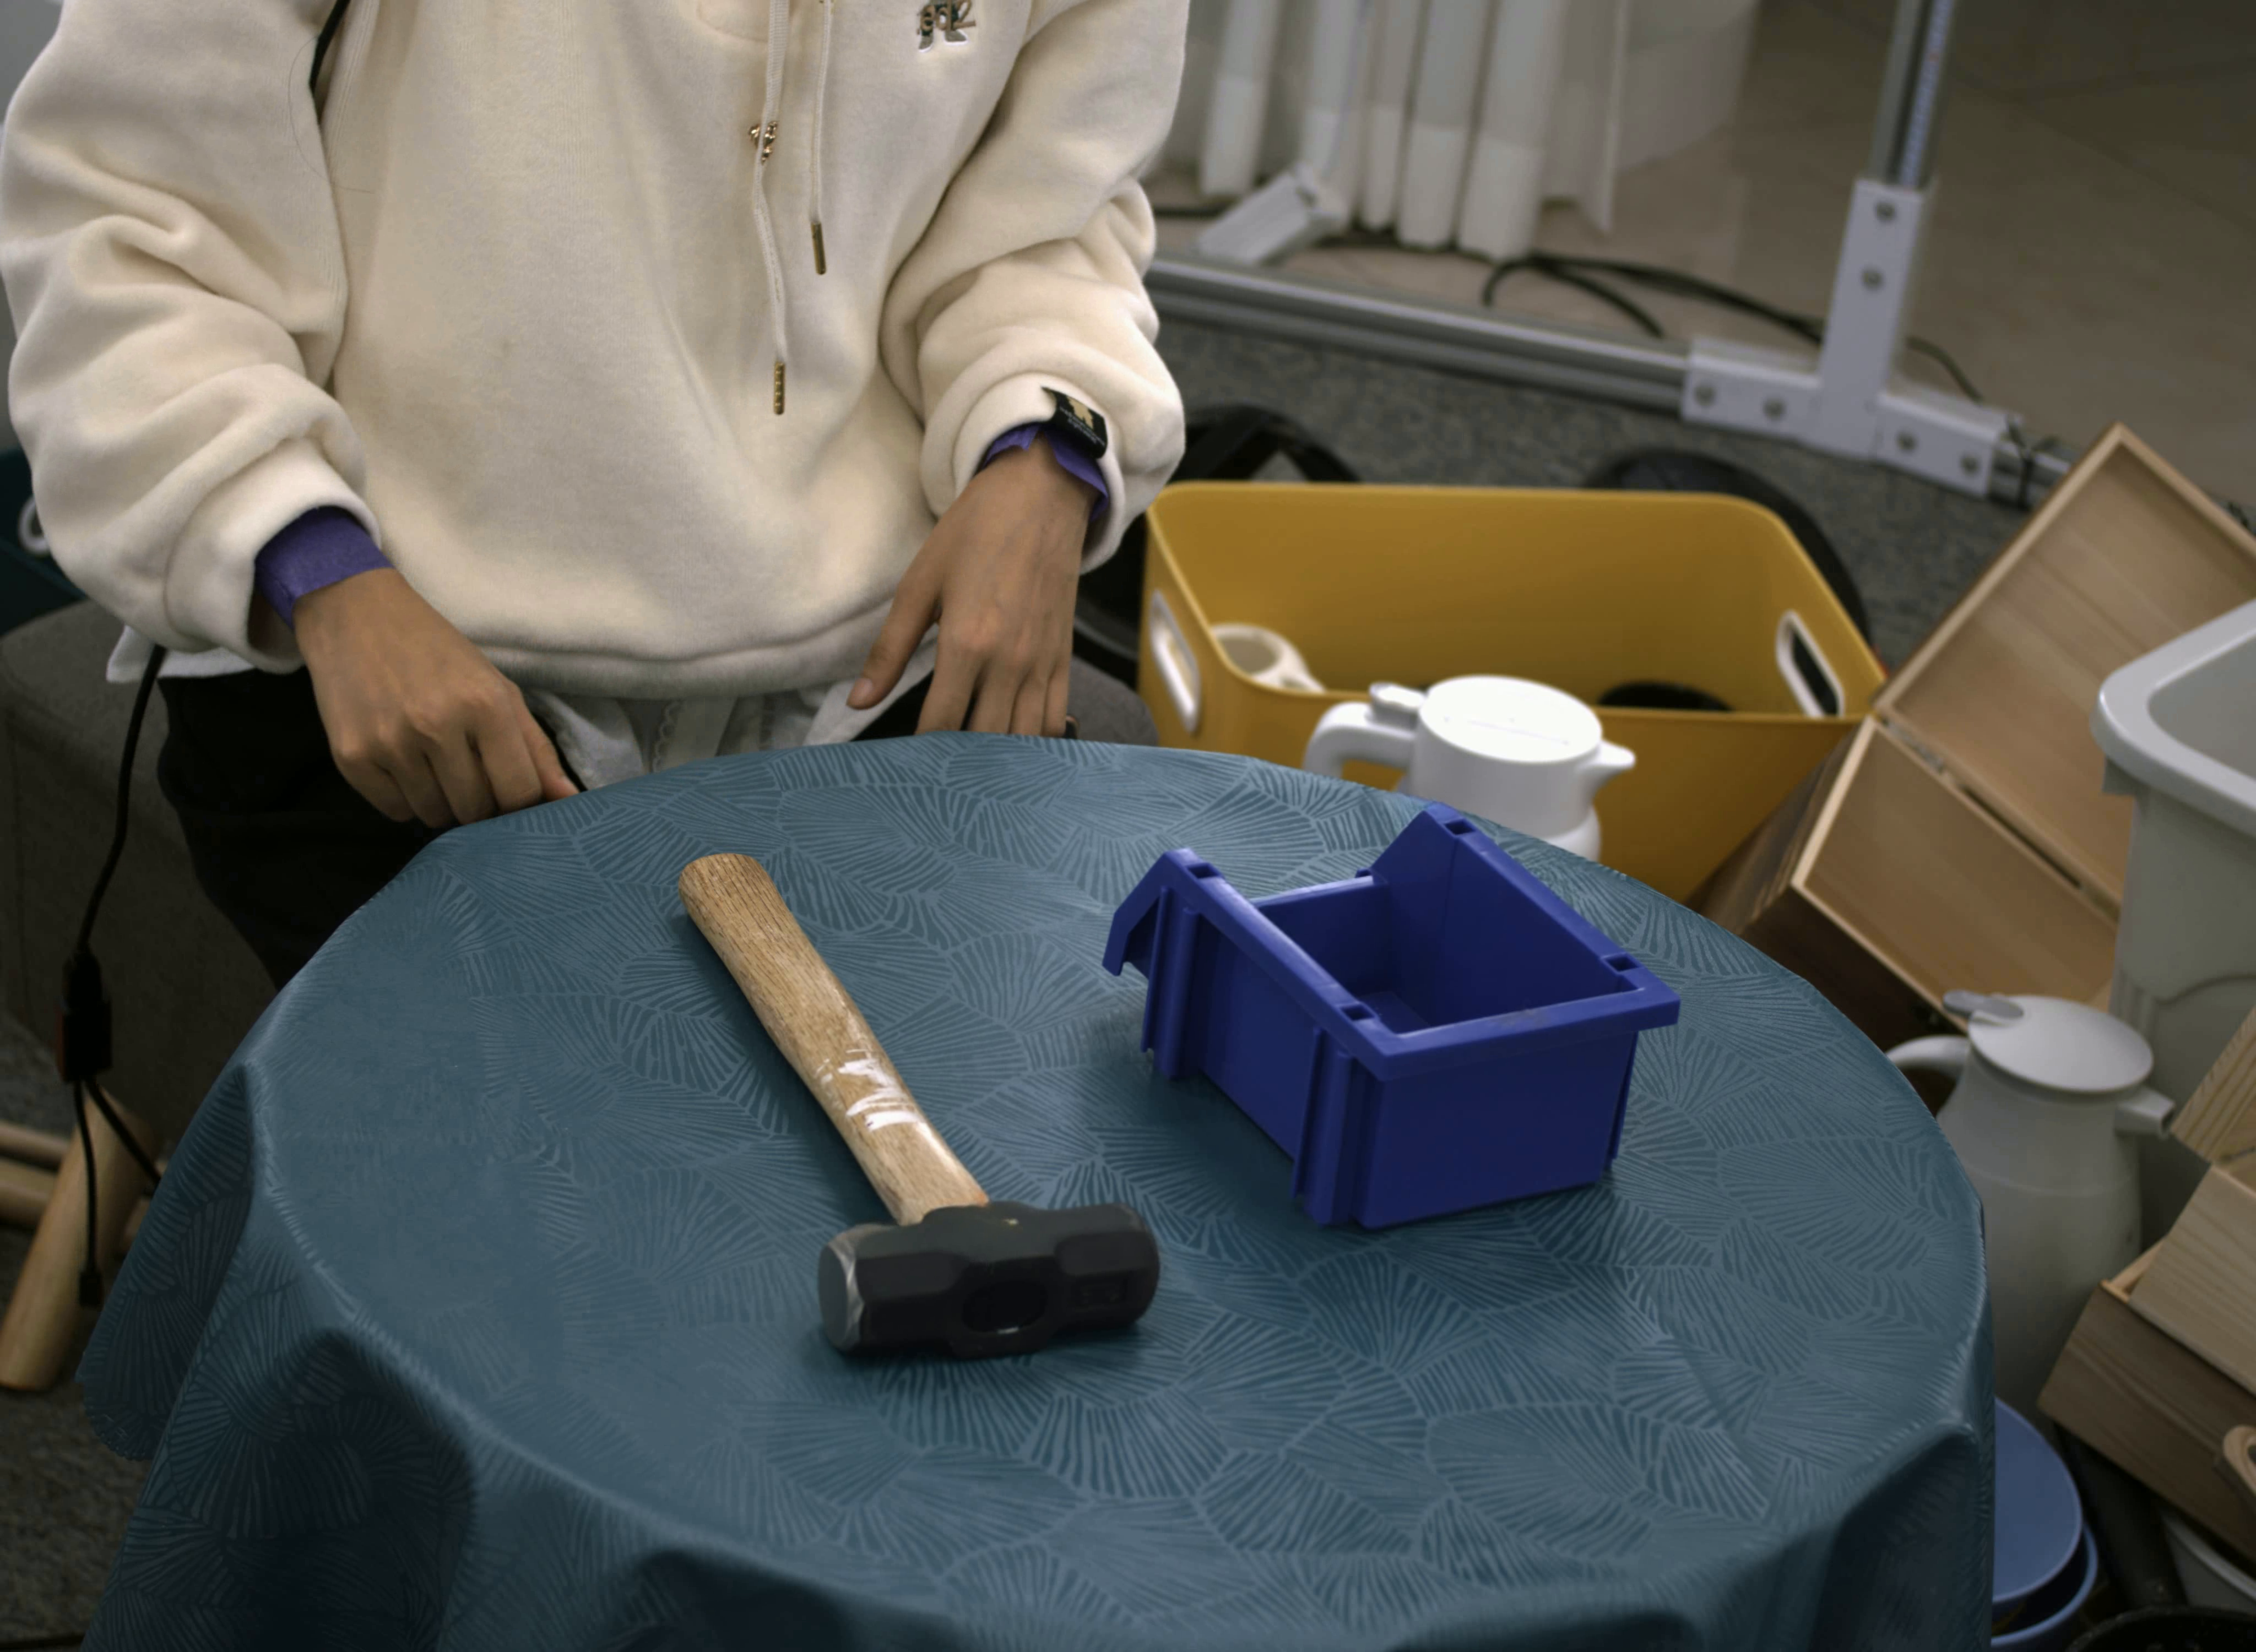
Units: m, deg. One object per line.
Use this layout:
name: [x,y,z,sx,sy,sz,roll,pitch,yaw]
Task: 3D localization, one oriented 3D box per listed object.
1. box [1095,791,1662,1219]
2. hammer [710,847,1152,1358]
box: [0.082,0.058,1.861,0.124,0.081,0.181,-9,33,-27]
hammer: [-0.090,0.086,1.819,0.106,0.038,0.308,-4,27,-19]
